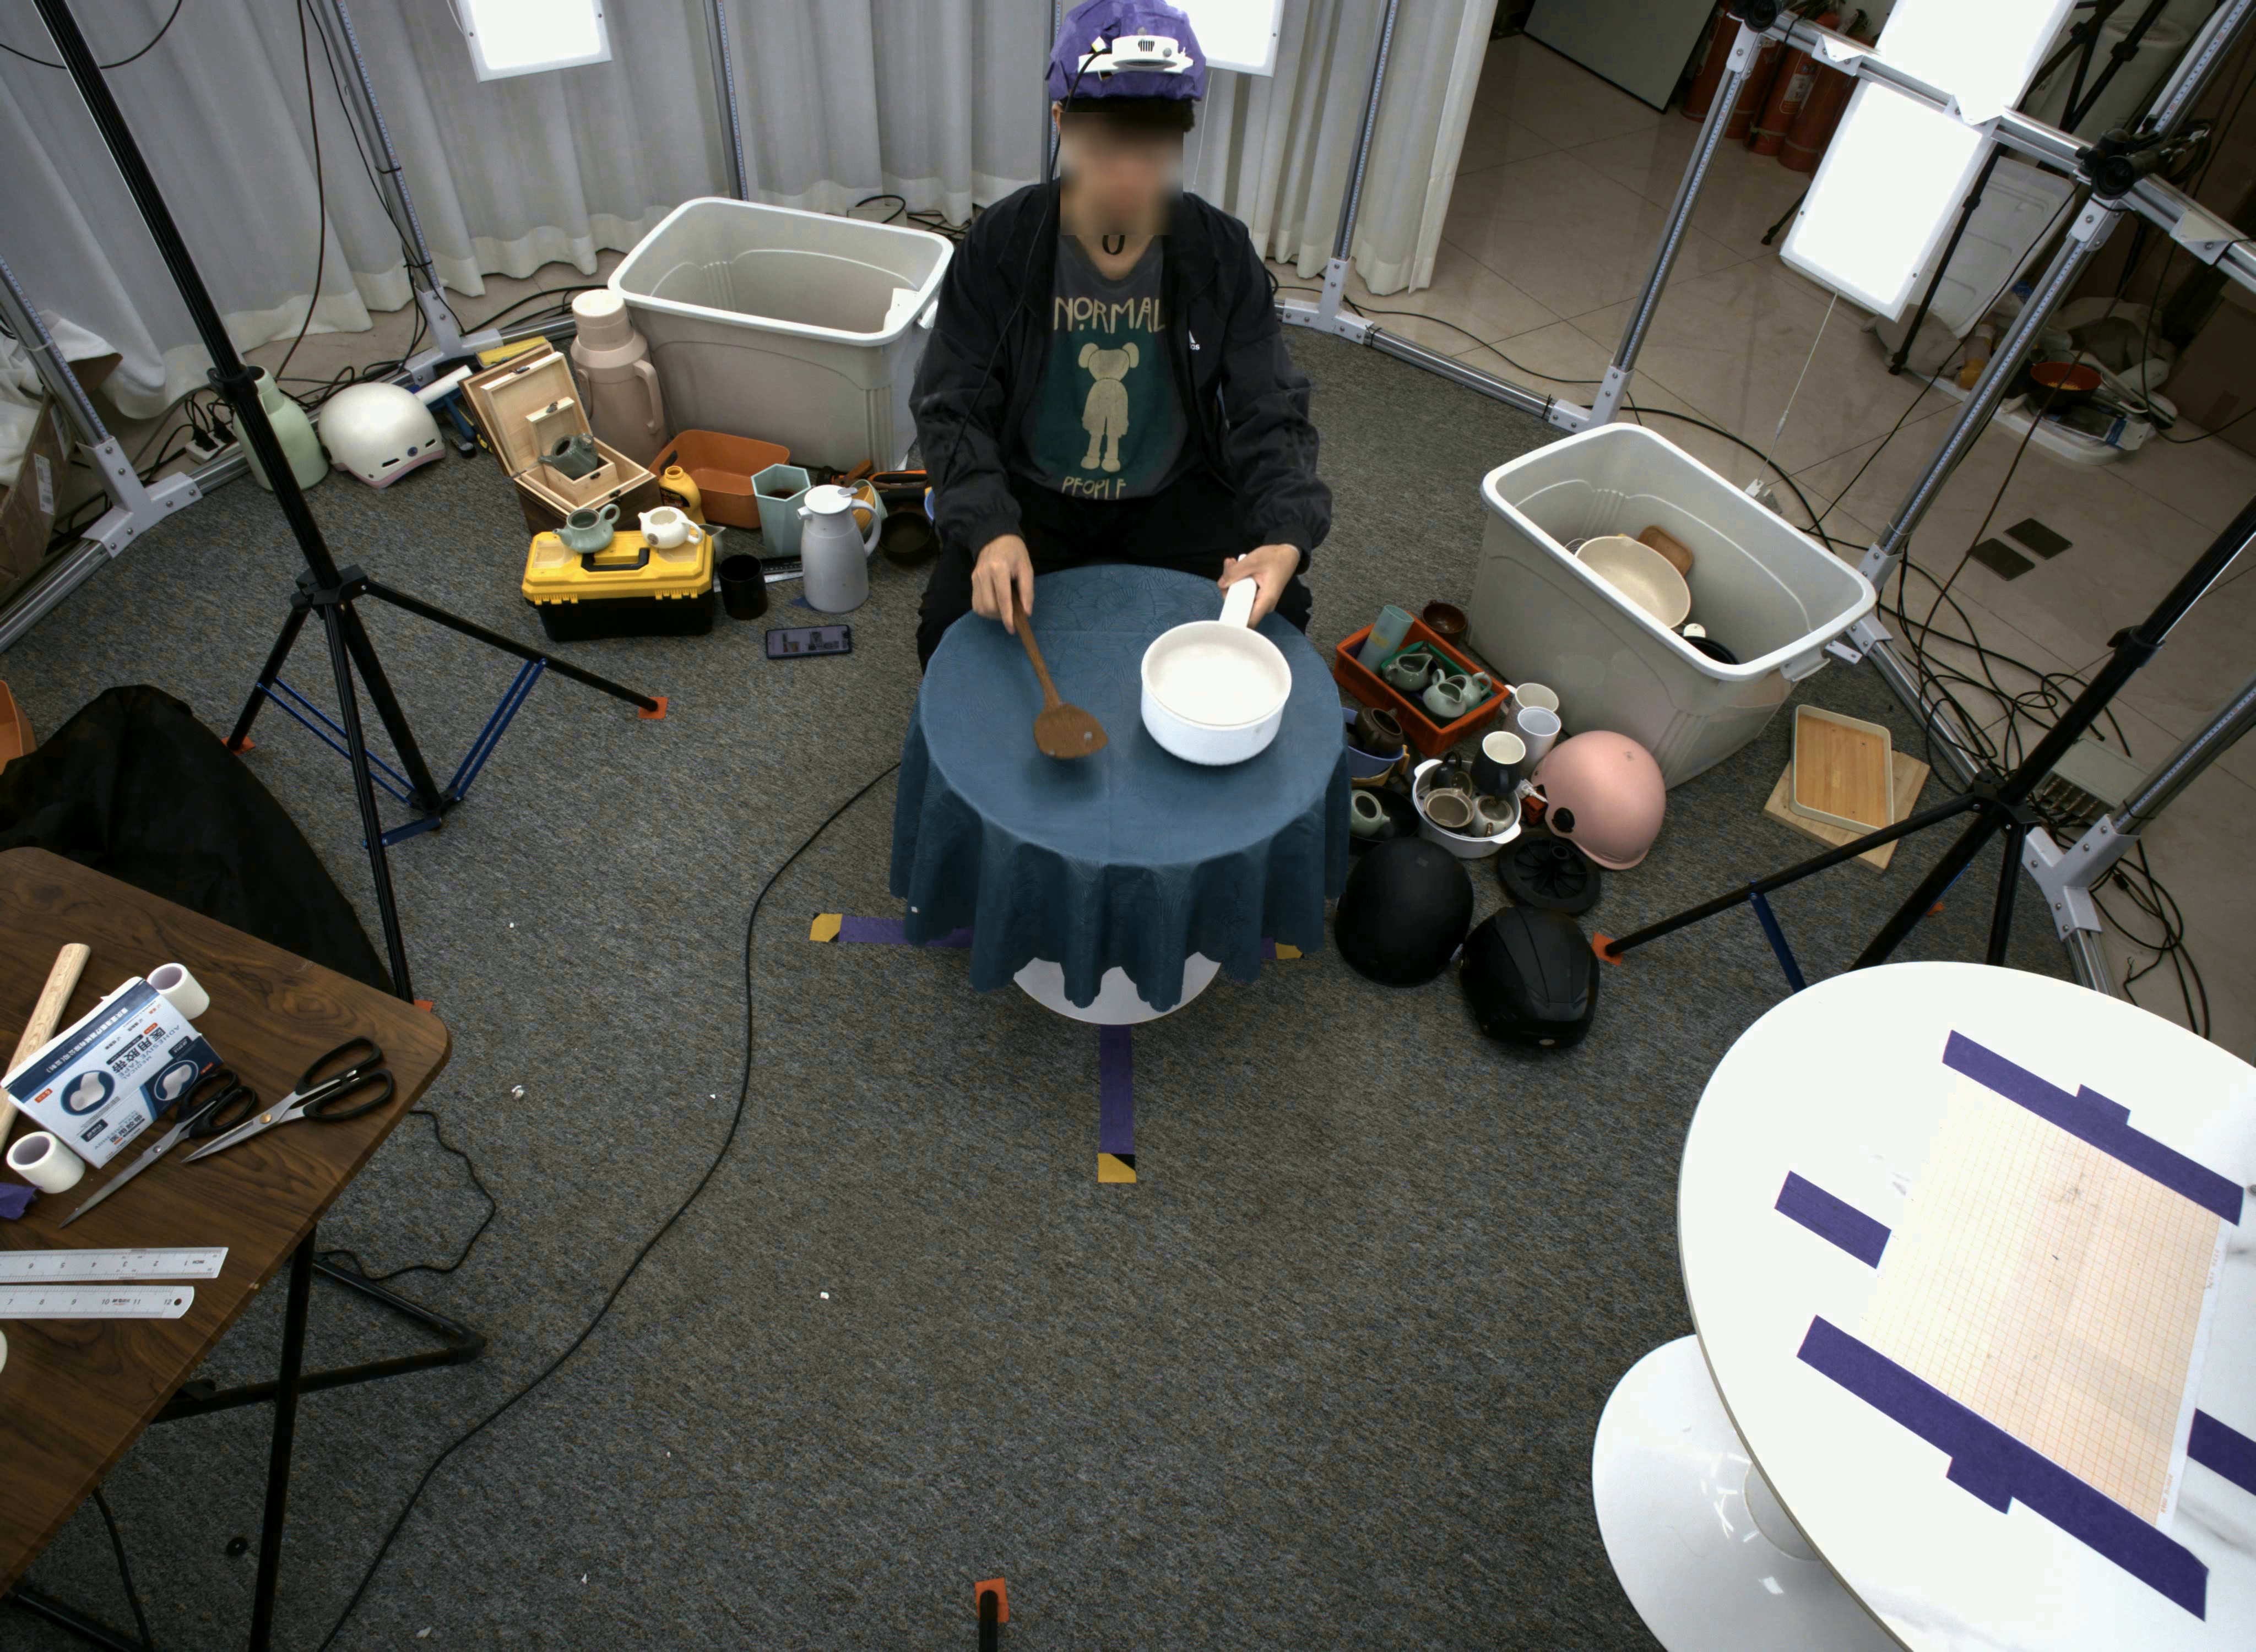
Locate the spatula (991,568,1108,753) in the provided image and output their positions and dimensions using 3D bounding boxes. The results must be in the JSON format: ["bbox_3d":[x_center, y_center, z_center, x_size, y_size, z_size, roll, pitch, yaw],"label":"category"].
[{"bbox_3d":[-0.128,-0.240,1.788,0.096,0.015,0.395,-12,51,-16],"label":"spatula"}]

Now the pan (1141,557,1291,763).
[{"bbox_3d":[0.136,-0.234,1.804,0.202,0.099,0.362,12,48,8],"label":"pan"}]
